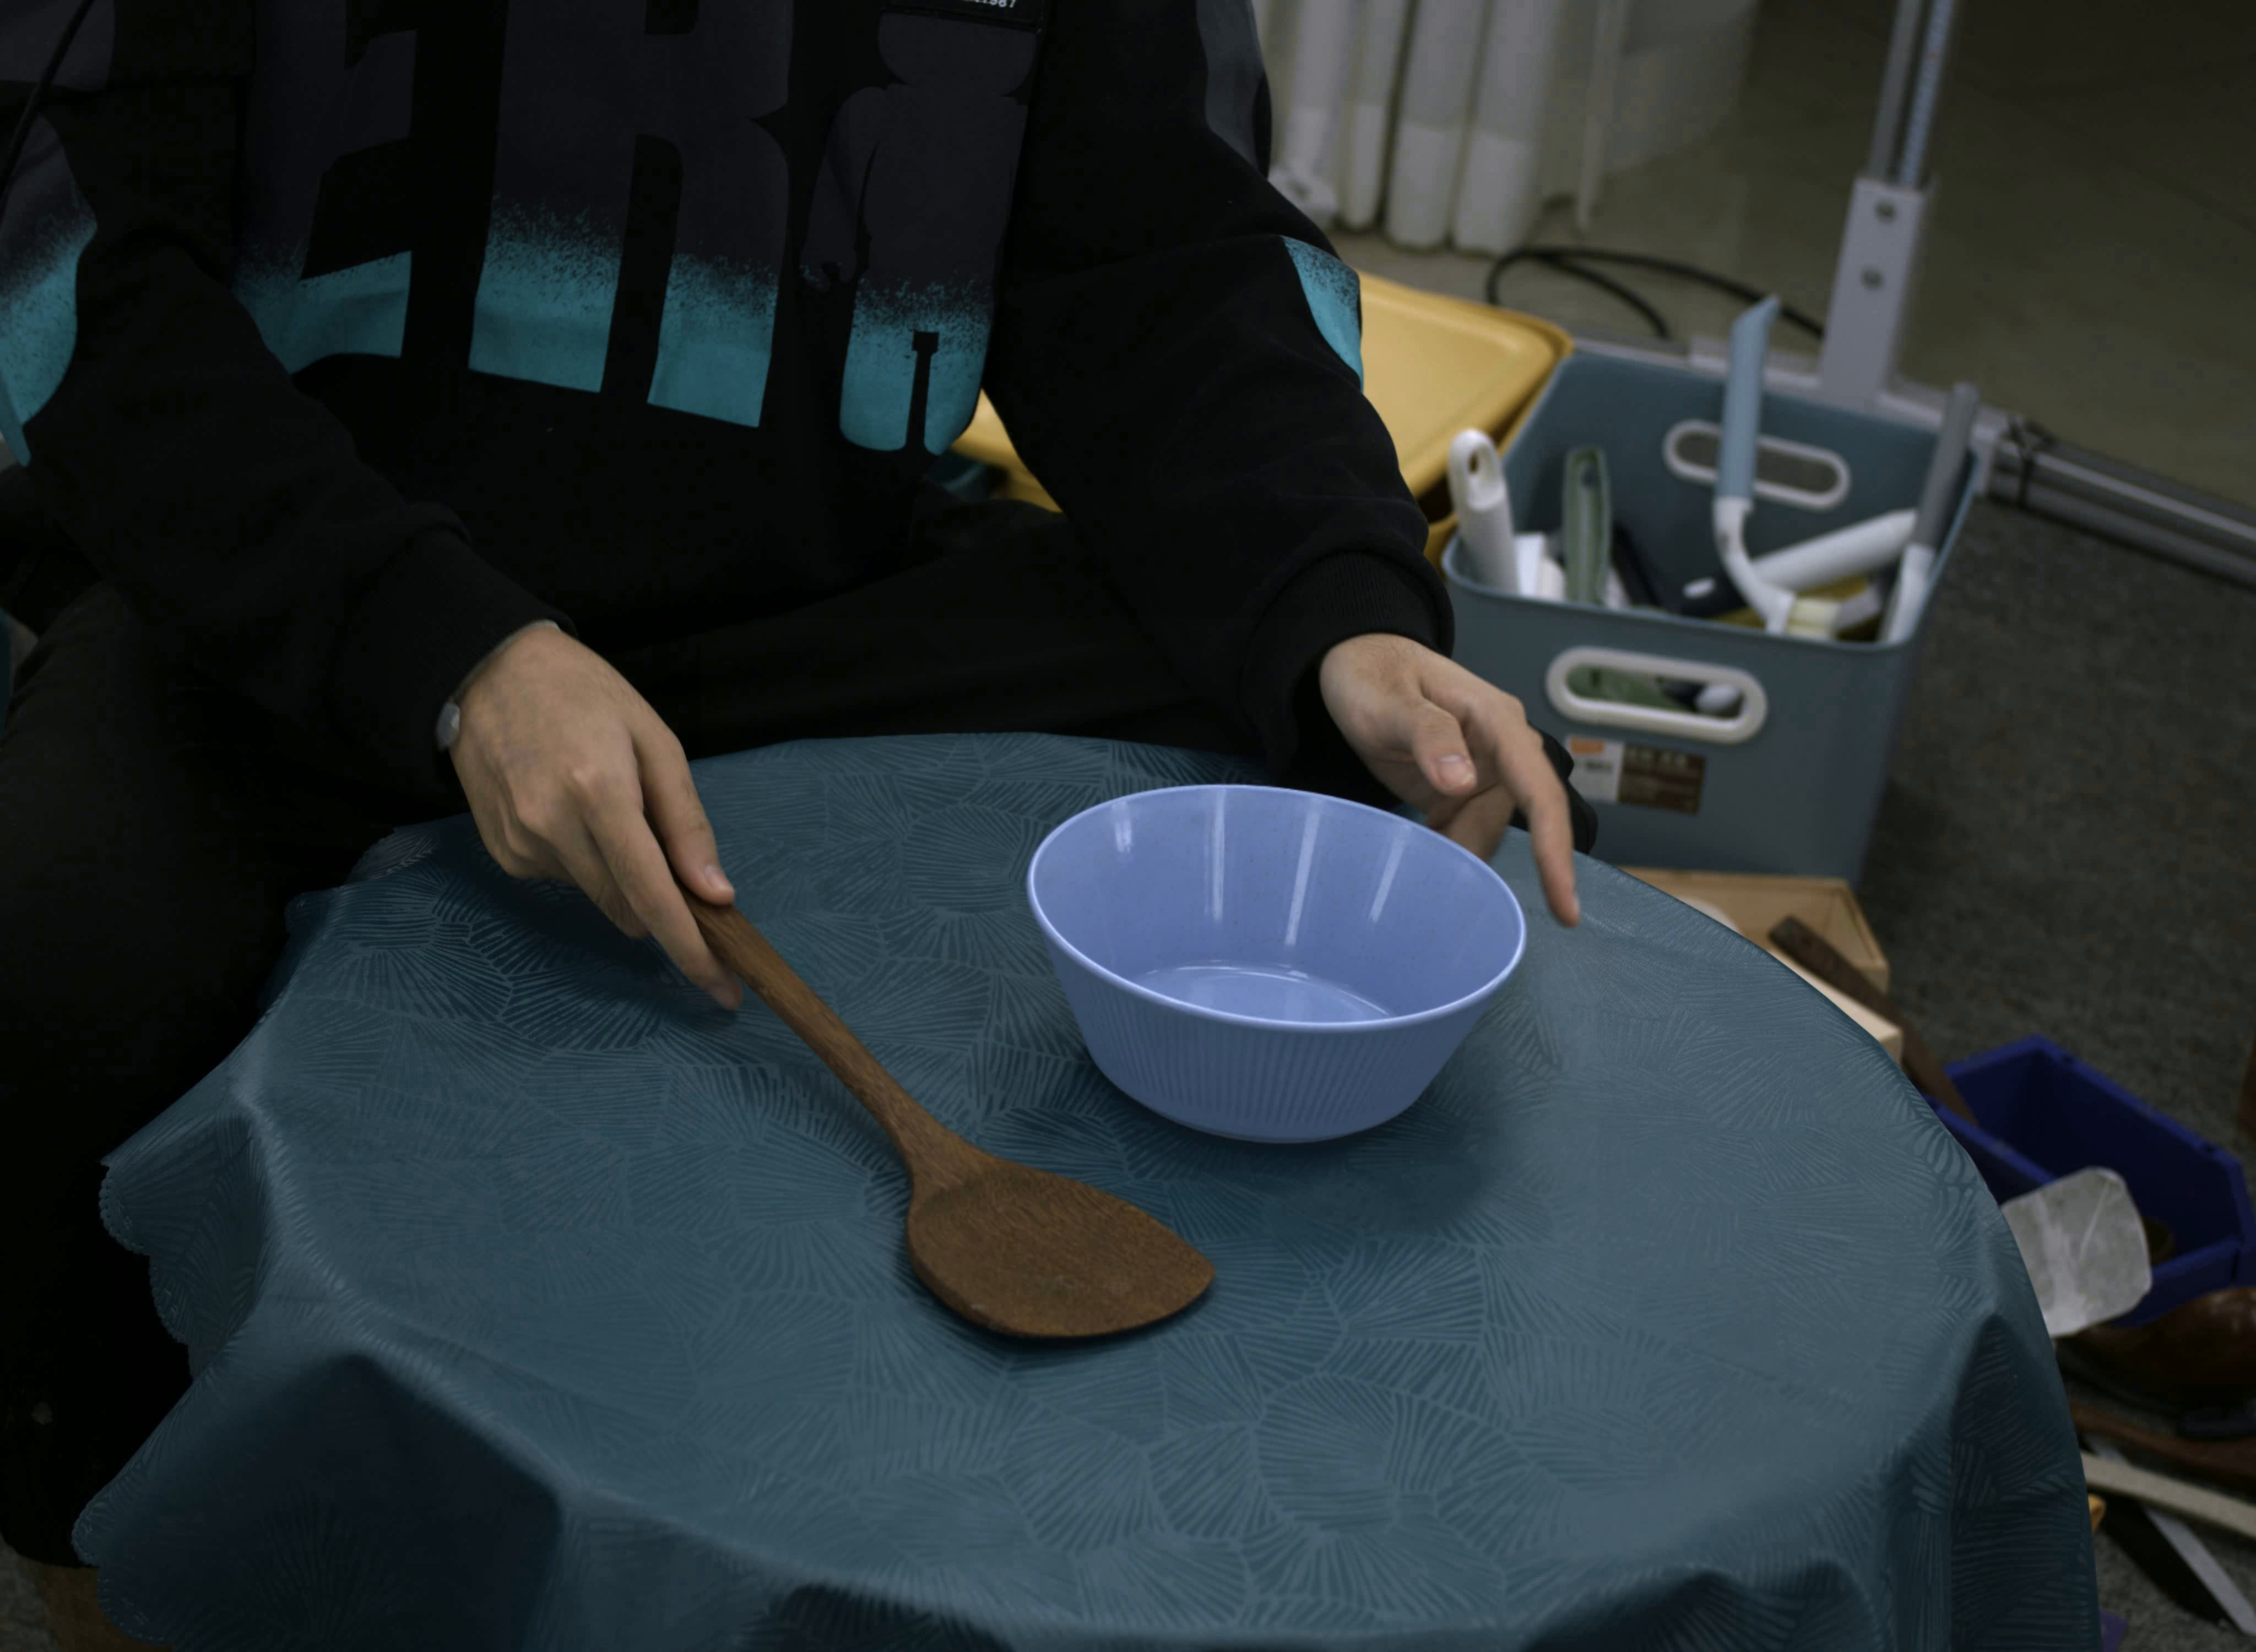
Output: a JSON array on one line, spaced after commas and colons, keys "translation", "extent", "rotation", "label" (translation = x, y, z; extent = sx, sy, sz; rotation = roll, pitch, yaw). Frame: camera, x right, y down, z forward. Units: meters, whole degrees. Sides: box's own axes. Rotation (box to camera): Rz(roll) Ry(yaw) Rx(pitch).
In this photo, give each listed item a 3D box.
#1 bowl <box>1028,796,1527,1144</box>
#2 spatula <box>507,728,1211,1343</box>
[{"translation": [0.049, 0.056, 1.869], "extent": [0.175, 0.070, 0.177], "rotation": [5, 25, -3], "label": "bowl"}, {"translation": [-0.112, 0.064, 1.839], "extent": [0.095, 0.016, 0.389], "rotation": [-11, 38, -36], "label": "spatula"}]
